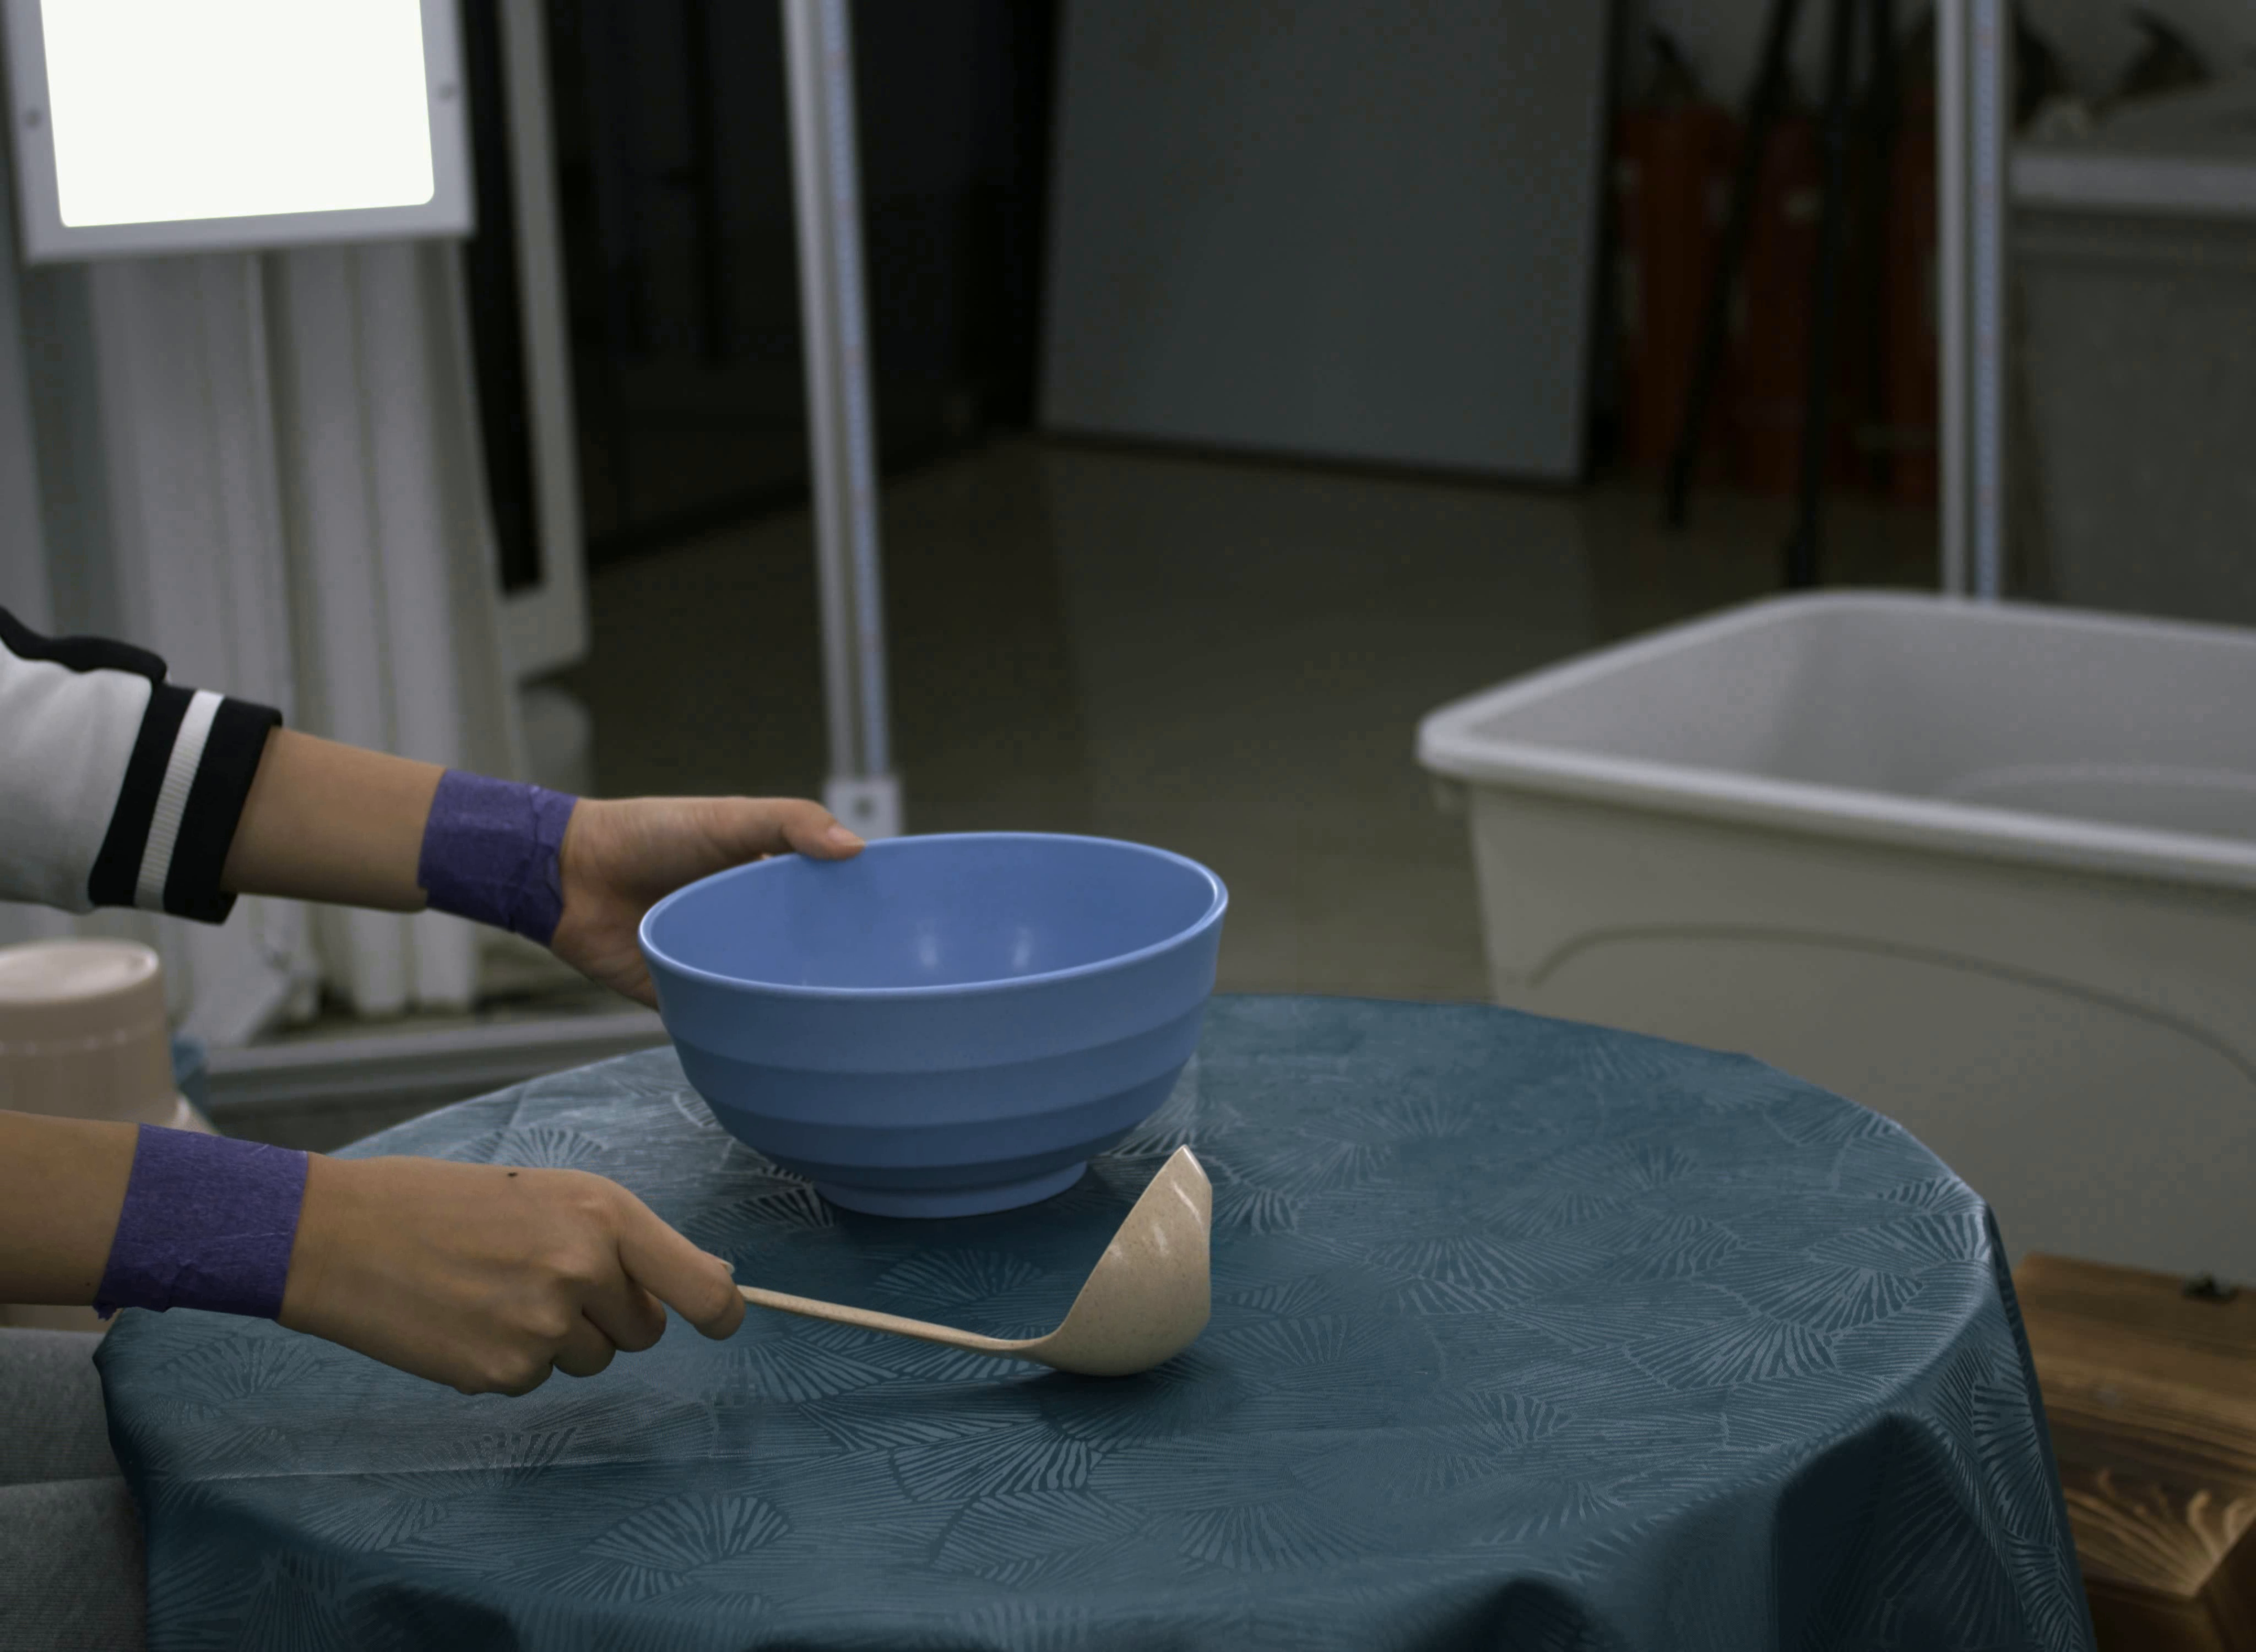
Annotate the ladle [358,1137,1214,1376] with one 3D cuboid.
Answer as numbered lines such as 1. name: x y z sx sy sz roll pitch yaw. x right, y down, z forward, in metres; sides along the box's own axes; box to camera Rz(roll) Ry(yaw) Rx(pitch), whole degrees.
1. ladle: -0.098 0.116 1.599 0.251 0.073 0.072 6 -12 2

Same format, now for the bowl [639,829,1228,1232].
1. bowl: -0.062 0.074 1.789 0.194 0.096 0.197 -3 16 0
